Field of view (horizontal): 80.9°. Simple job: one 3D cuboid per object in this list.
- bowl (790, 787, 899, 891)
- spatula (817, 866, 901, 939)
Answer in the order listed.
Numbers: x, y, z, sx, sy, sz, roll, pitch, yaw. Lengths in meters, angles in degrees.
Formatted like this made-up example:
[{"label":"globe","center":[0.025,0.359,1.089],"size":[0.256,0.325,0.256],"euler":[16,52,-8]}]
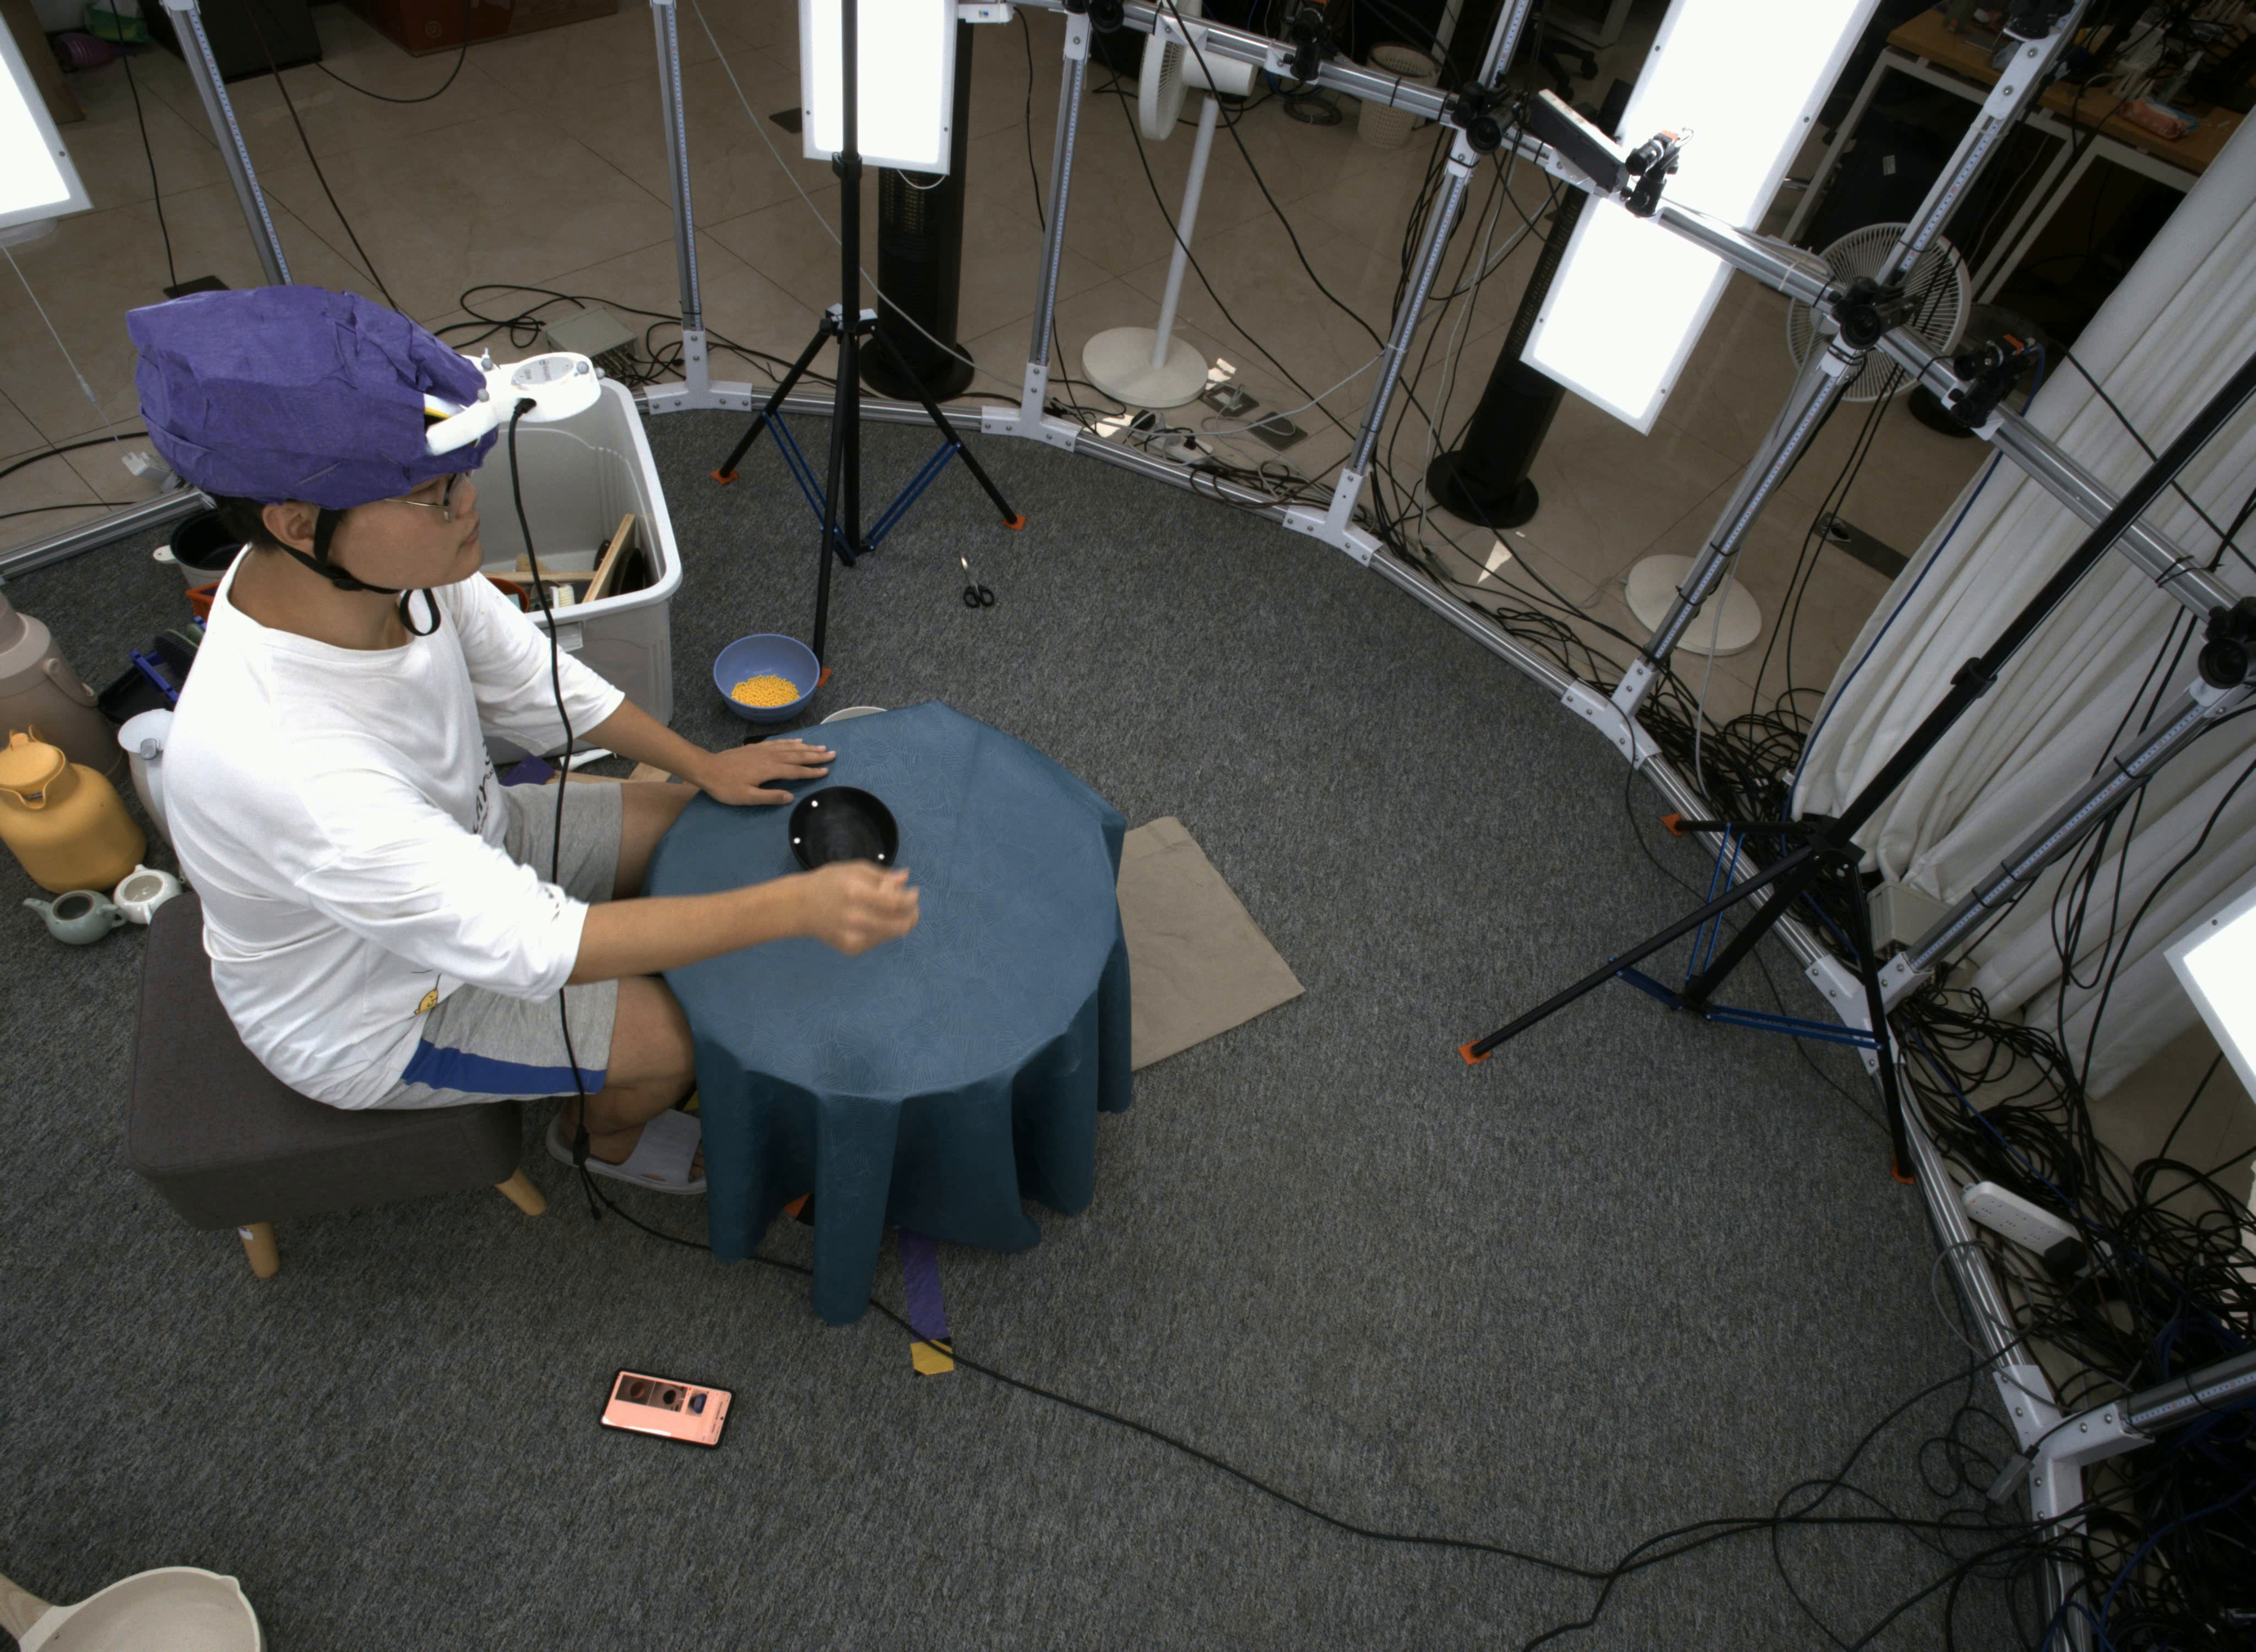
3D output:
[{"label":"bowl","center":[-0.368,0.024,1.689],"size":[0.138,0.068,0.166],"euler":[-14,56,-21]},{"label":"spatula","center":[-0.275,0.083,1.366],"size":[0.073,0.291,0.010],"euler":[11,70,-17]}]
